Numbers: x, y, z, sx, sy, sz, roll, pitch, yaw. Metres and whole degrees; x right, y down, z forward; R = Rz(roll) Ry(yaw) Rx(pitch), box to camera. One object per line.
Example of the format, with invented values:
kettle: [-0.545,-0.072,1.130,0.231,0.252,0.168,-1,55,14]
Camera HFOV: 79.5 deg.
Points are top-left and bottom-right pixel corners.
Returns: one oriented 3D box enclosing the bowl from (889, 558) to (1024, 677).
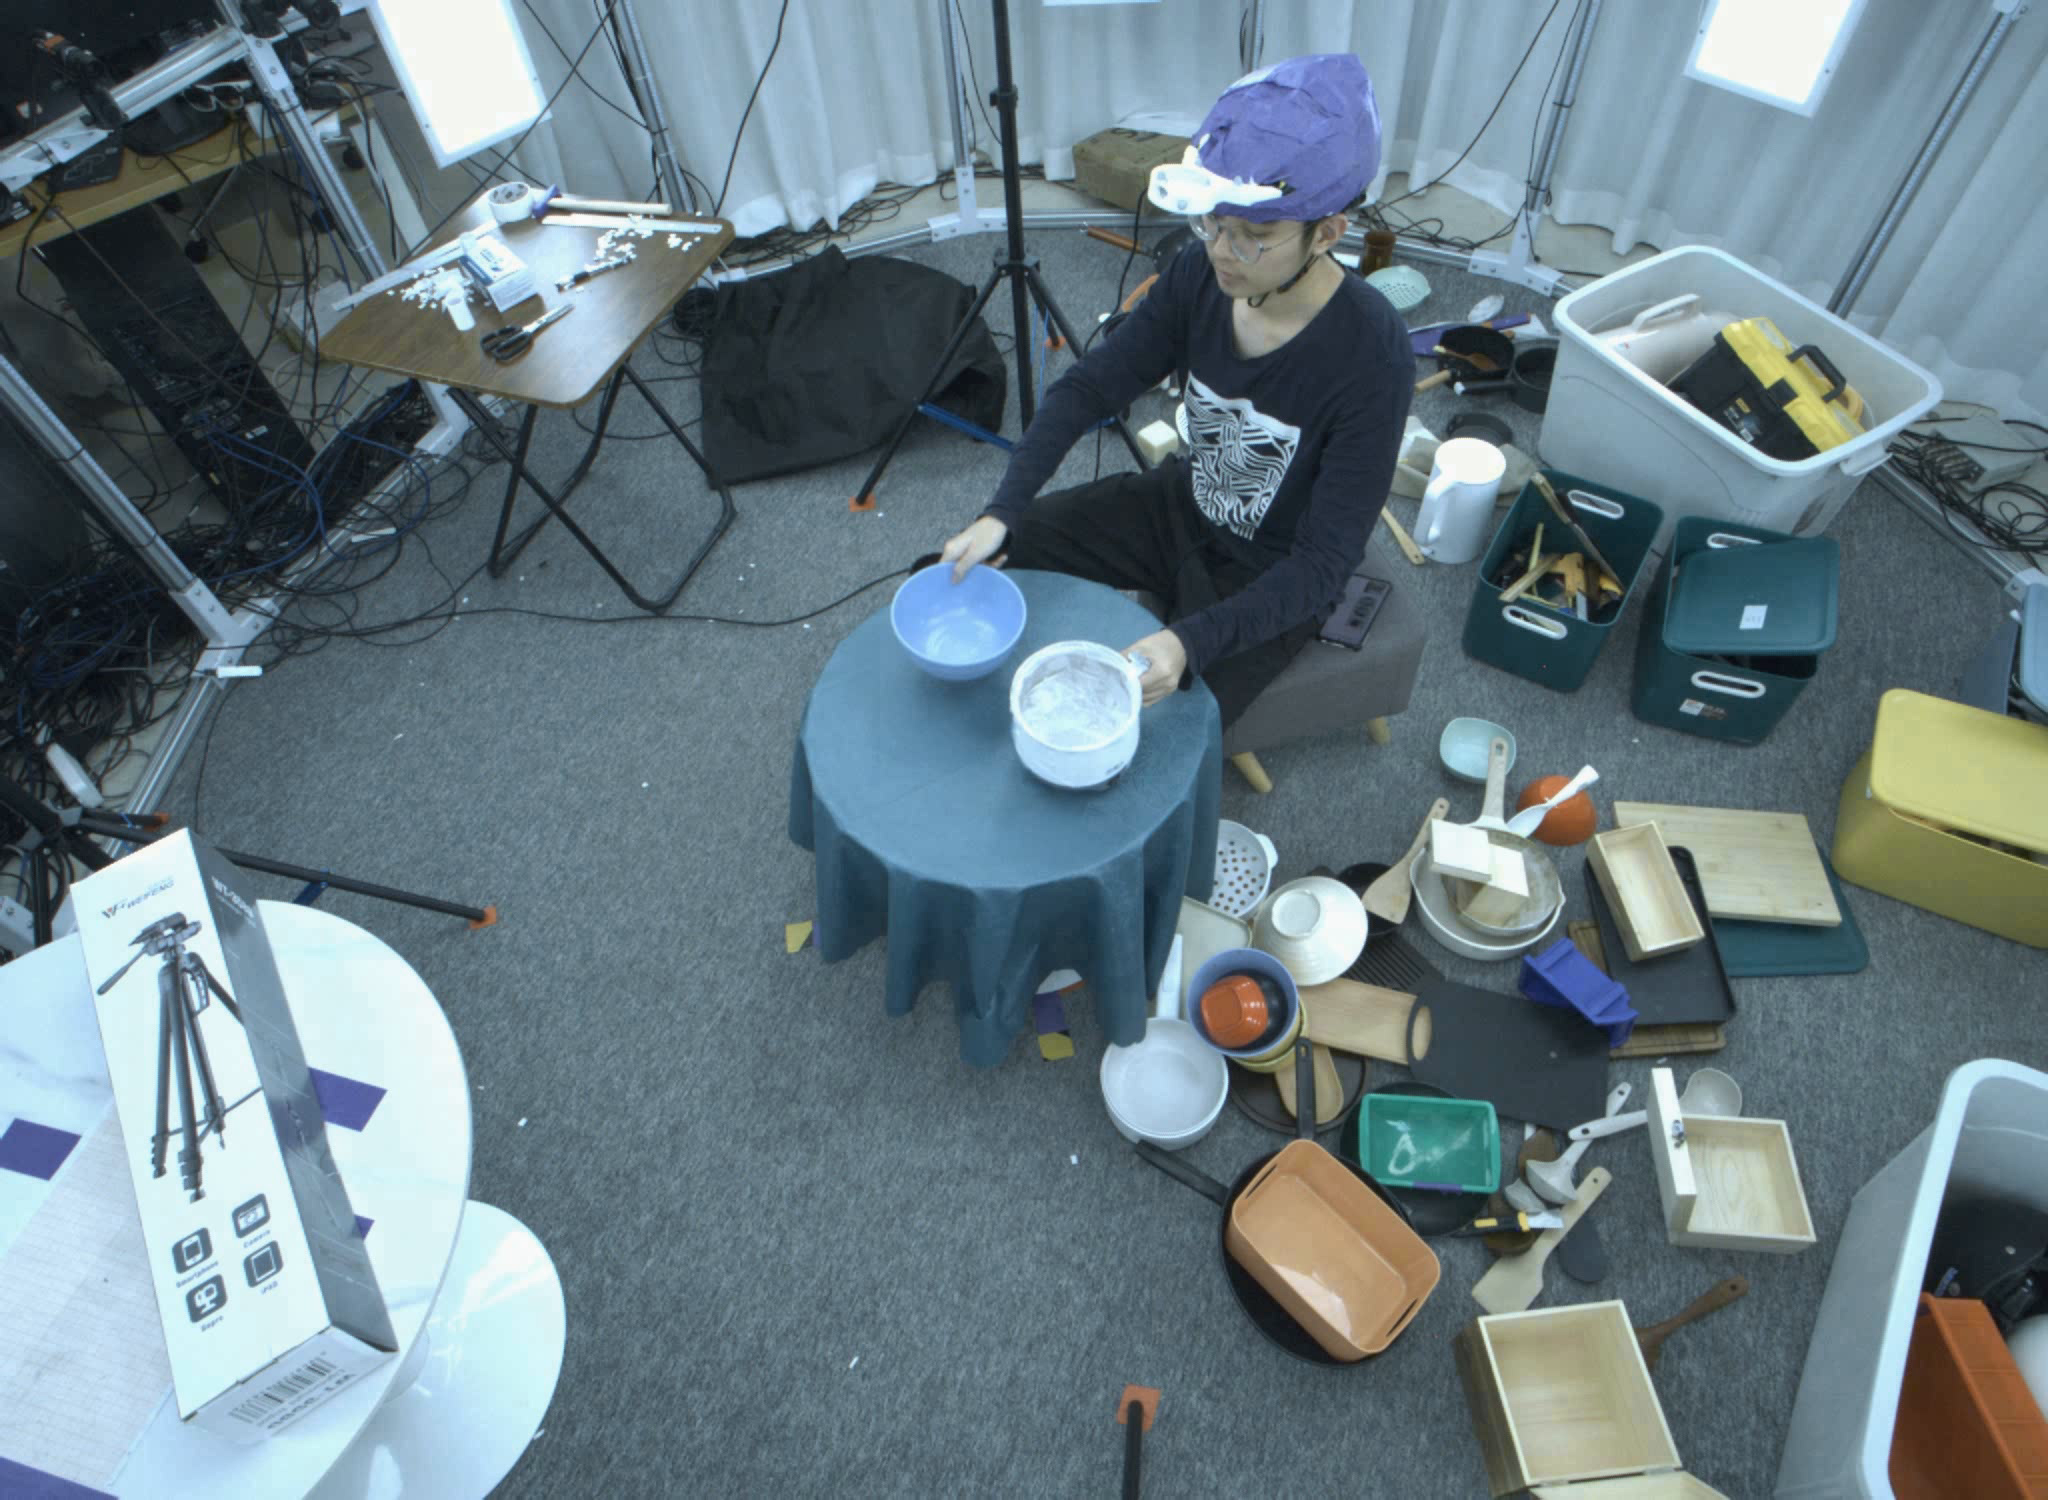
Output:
bowl: [-0.096,-0.180,1.806,0.196,0.096,0.194,0,56,1]

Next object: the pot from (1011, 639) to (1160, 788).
pot: [0.094,-0.061,1.722,0.235,0.137,0.176,-35,68,-18]
